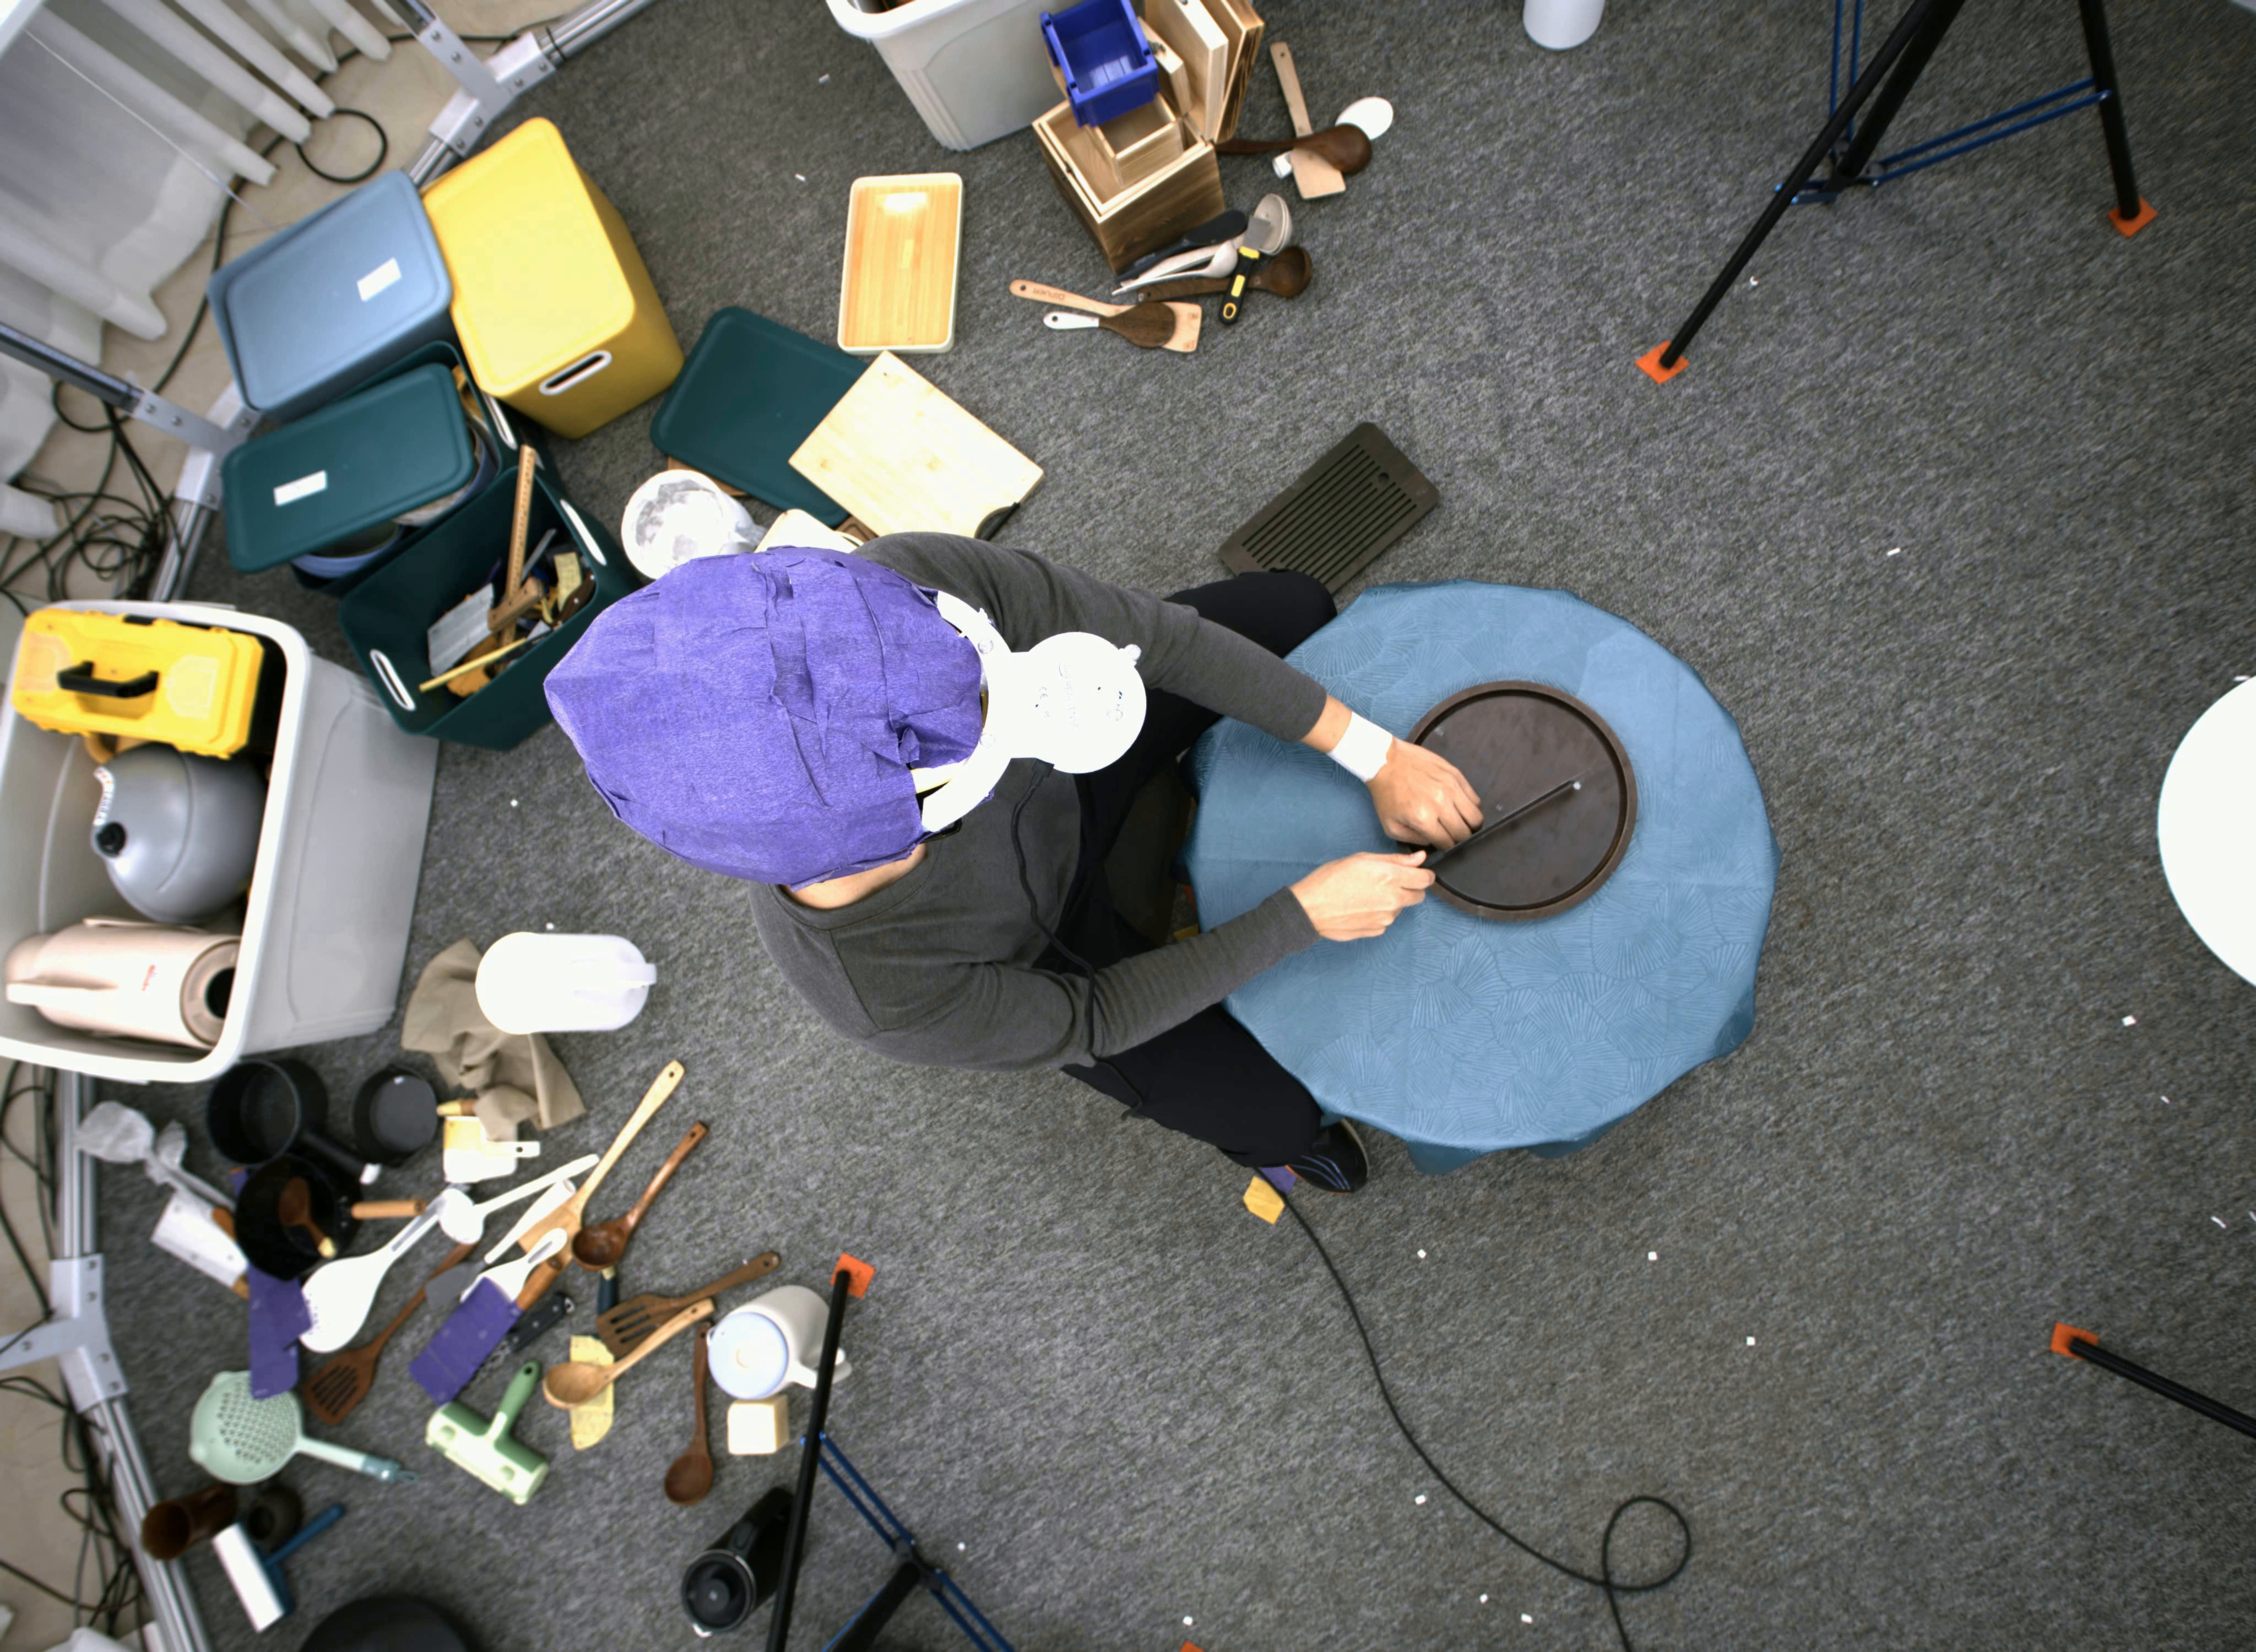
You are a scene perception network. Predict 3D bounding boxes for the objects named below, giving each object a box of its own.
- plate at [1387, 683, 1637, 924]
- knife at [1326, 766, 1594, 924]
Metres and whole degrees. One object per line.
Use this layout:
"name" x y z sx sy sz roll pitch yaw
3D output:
"plate" 0.398 -0.027 1.430 0.256 0.029 0.254 -1 88 10
"knife" 0.333 0.017 1.383 0.303 0.081 0.020 -30 78 4
